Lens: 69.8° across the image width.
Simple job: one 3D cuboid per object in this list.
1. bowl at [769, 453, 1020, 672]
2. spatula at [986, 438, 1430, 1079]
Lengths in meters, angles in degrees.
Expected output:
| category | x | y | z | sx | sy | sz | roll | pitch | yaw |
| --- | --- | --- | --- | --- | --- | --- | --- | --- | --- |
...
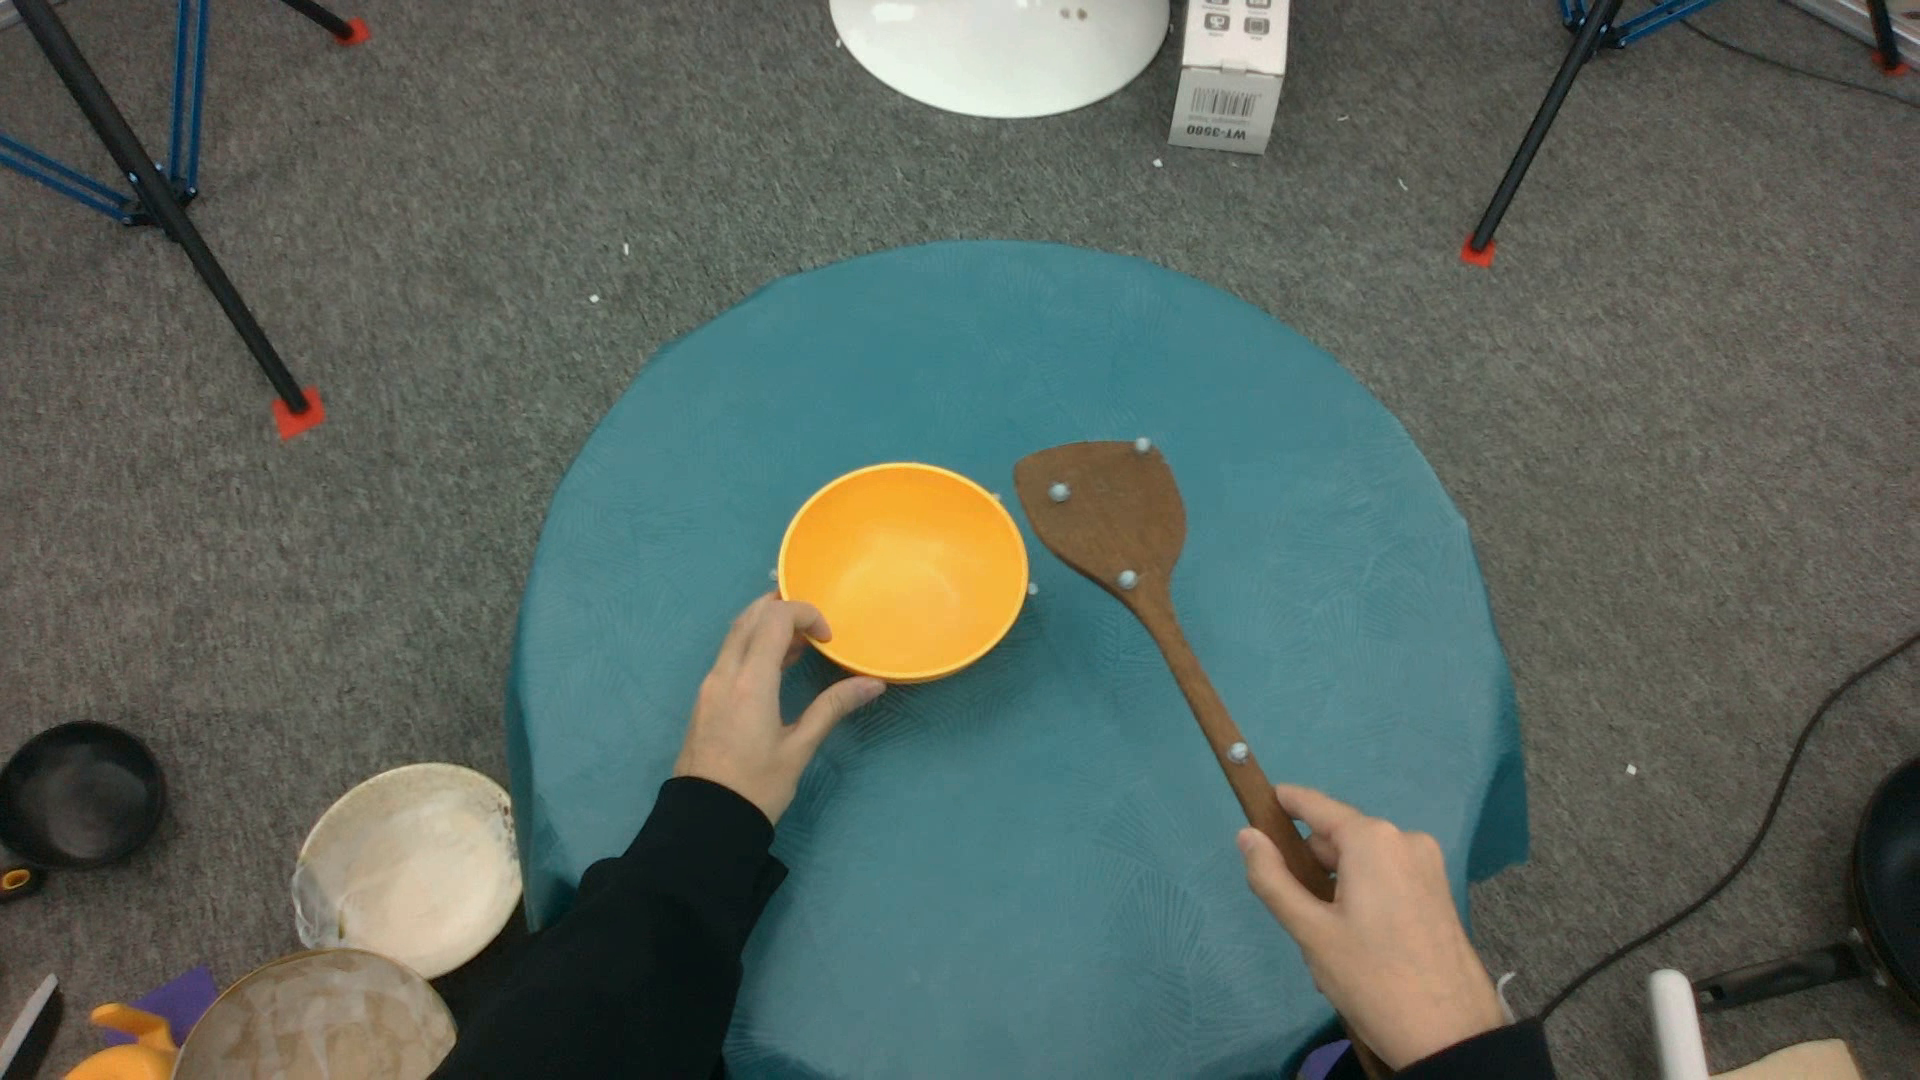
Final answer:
| category | x | y | z | sx | sy | sz | roll | pitch | yaw |
| --- | --- | --- | --- | --- | --- | --- | --- | --- | --- |
| bowl | -0.038 | 0.023 | 0.818 | 0.145 | 0.060 | 0.146 | 0 | 58 | 0 |
| spatula | 0.117 | 0.087 | 0.665 | 0.096 | 0.015 | 0.387 | -9 | 50 | -21 |
